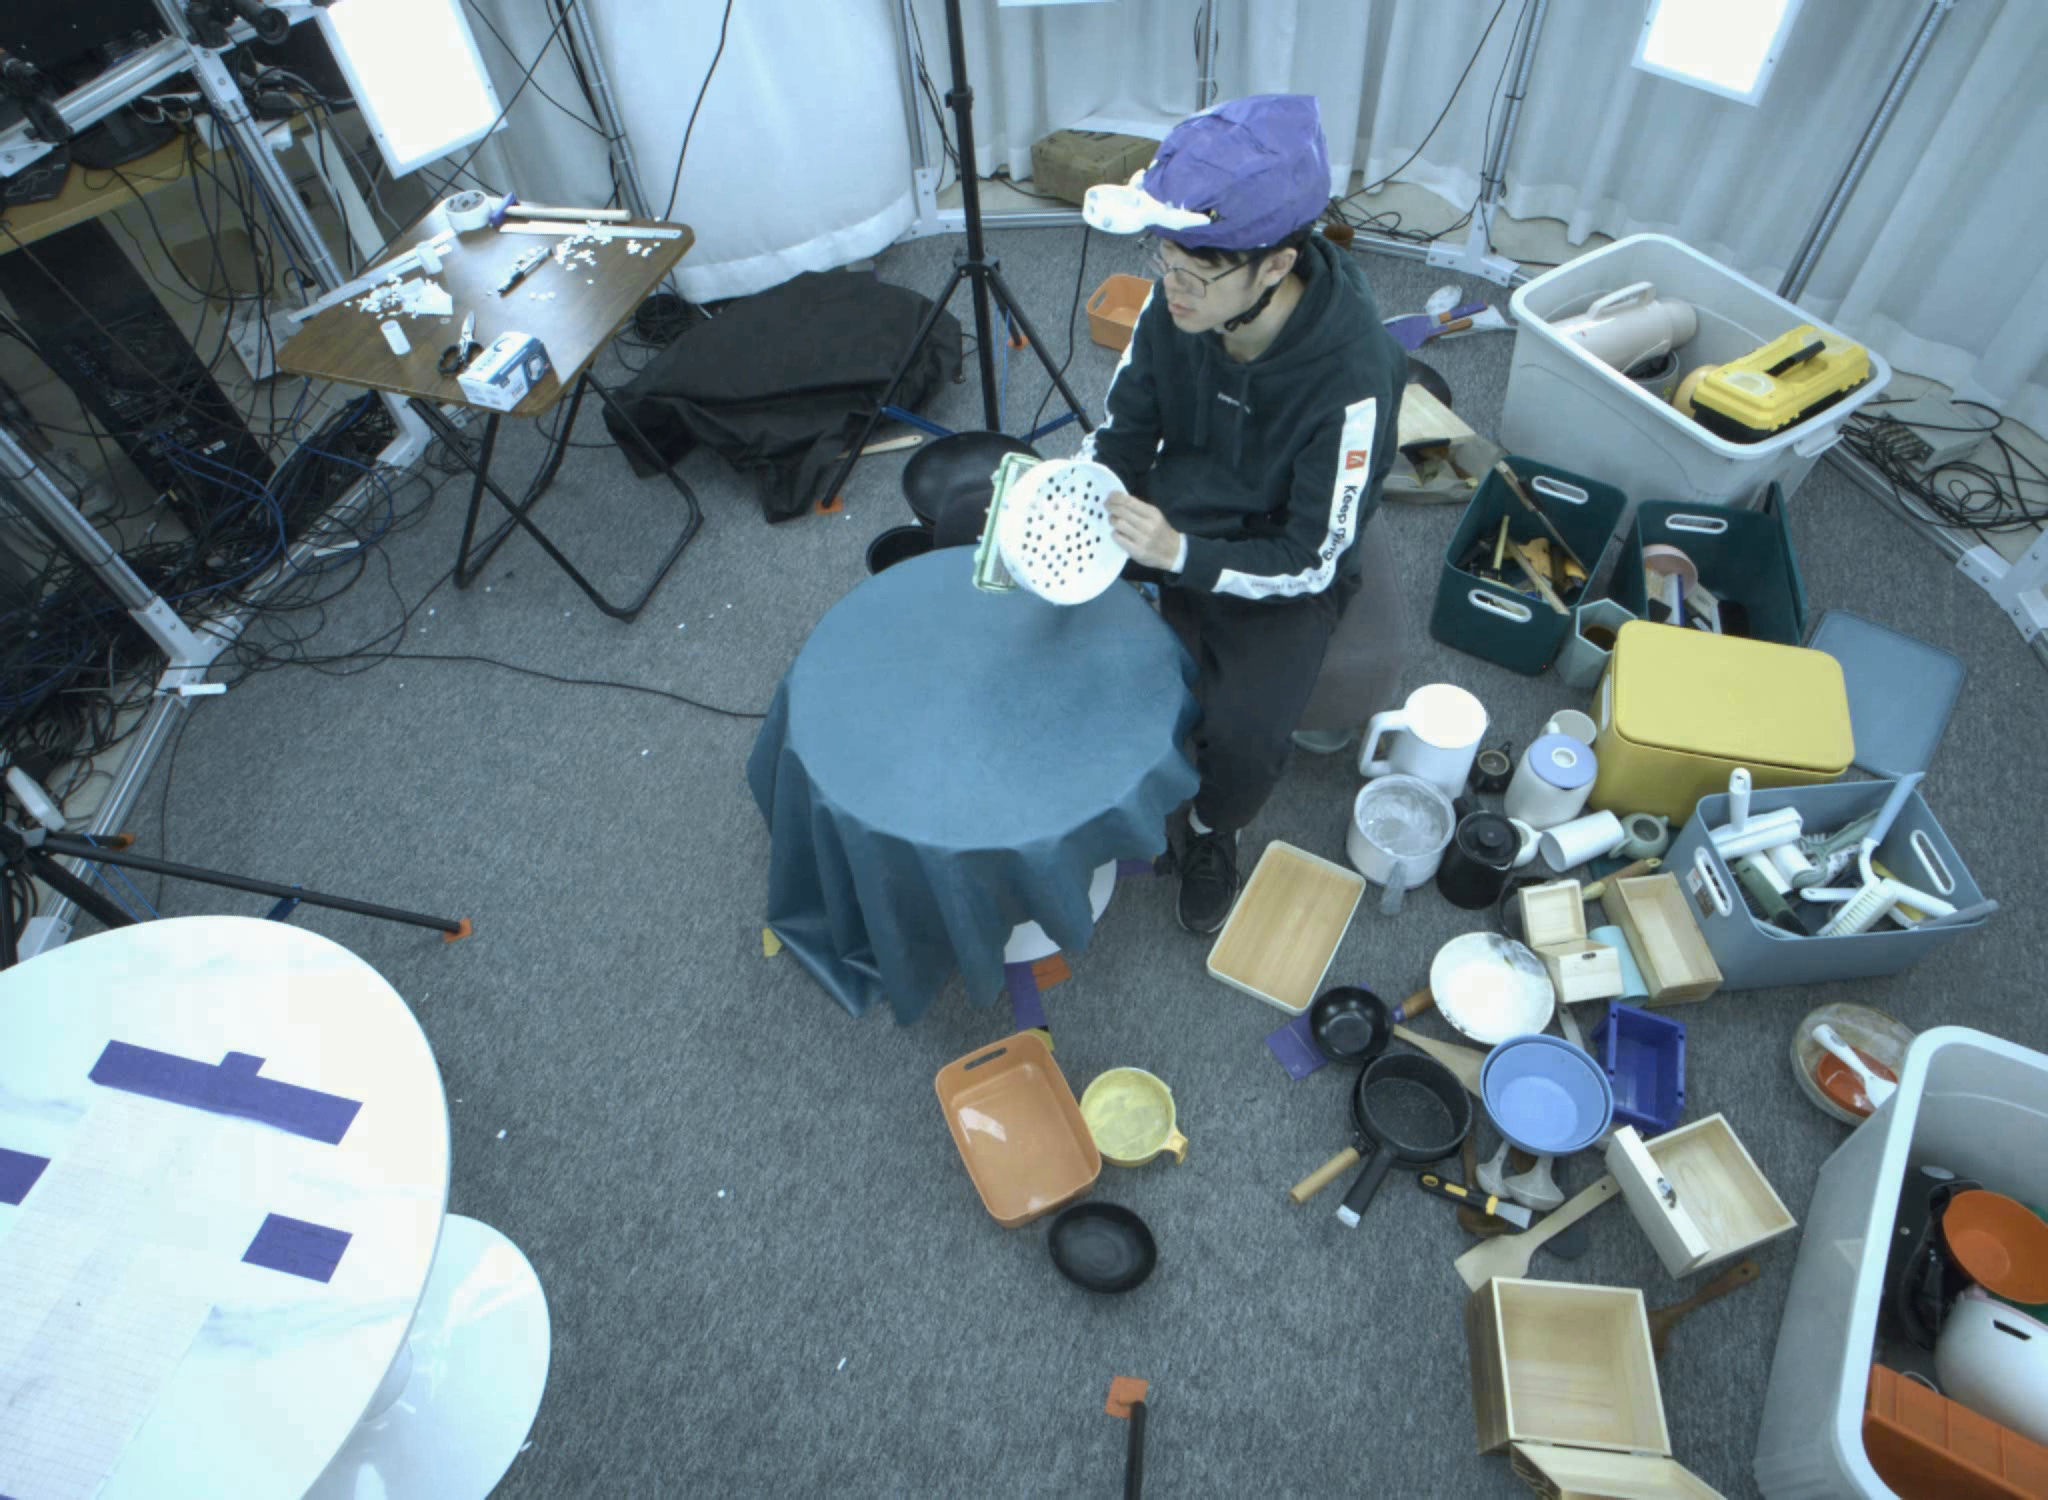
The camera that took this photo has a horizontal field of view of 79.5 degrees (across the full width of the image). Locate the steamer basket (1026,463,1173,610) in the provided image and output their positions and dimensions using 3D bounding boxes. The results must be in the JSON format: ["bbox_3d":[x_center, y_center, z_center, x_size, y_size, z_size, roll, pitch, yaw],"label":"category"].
[{"bbox_3d":[0.098,-0.300,1.710,0.235,0.203,0.067,-5,21,-33],"label":"steamer basket"}]

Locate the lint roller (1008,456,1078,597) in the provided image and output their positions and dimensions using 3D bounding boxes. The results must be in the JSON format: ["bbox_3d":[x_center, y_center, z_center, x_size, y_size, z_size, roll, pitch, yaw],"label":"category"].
[{"bbox_3d":[0.045,-0.324,1.784,0.081,0.199,0.186,21,16,24],"label":"lint roller"}]
